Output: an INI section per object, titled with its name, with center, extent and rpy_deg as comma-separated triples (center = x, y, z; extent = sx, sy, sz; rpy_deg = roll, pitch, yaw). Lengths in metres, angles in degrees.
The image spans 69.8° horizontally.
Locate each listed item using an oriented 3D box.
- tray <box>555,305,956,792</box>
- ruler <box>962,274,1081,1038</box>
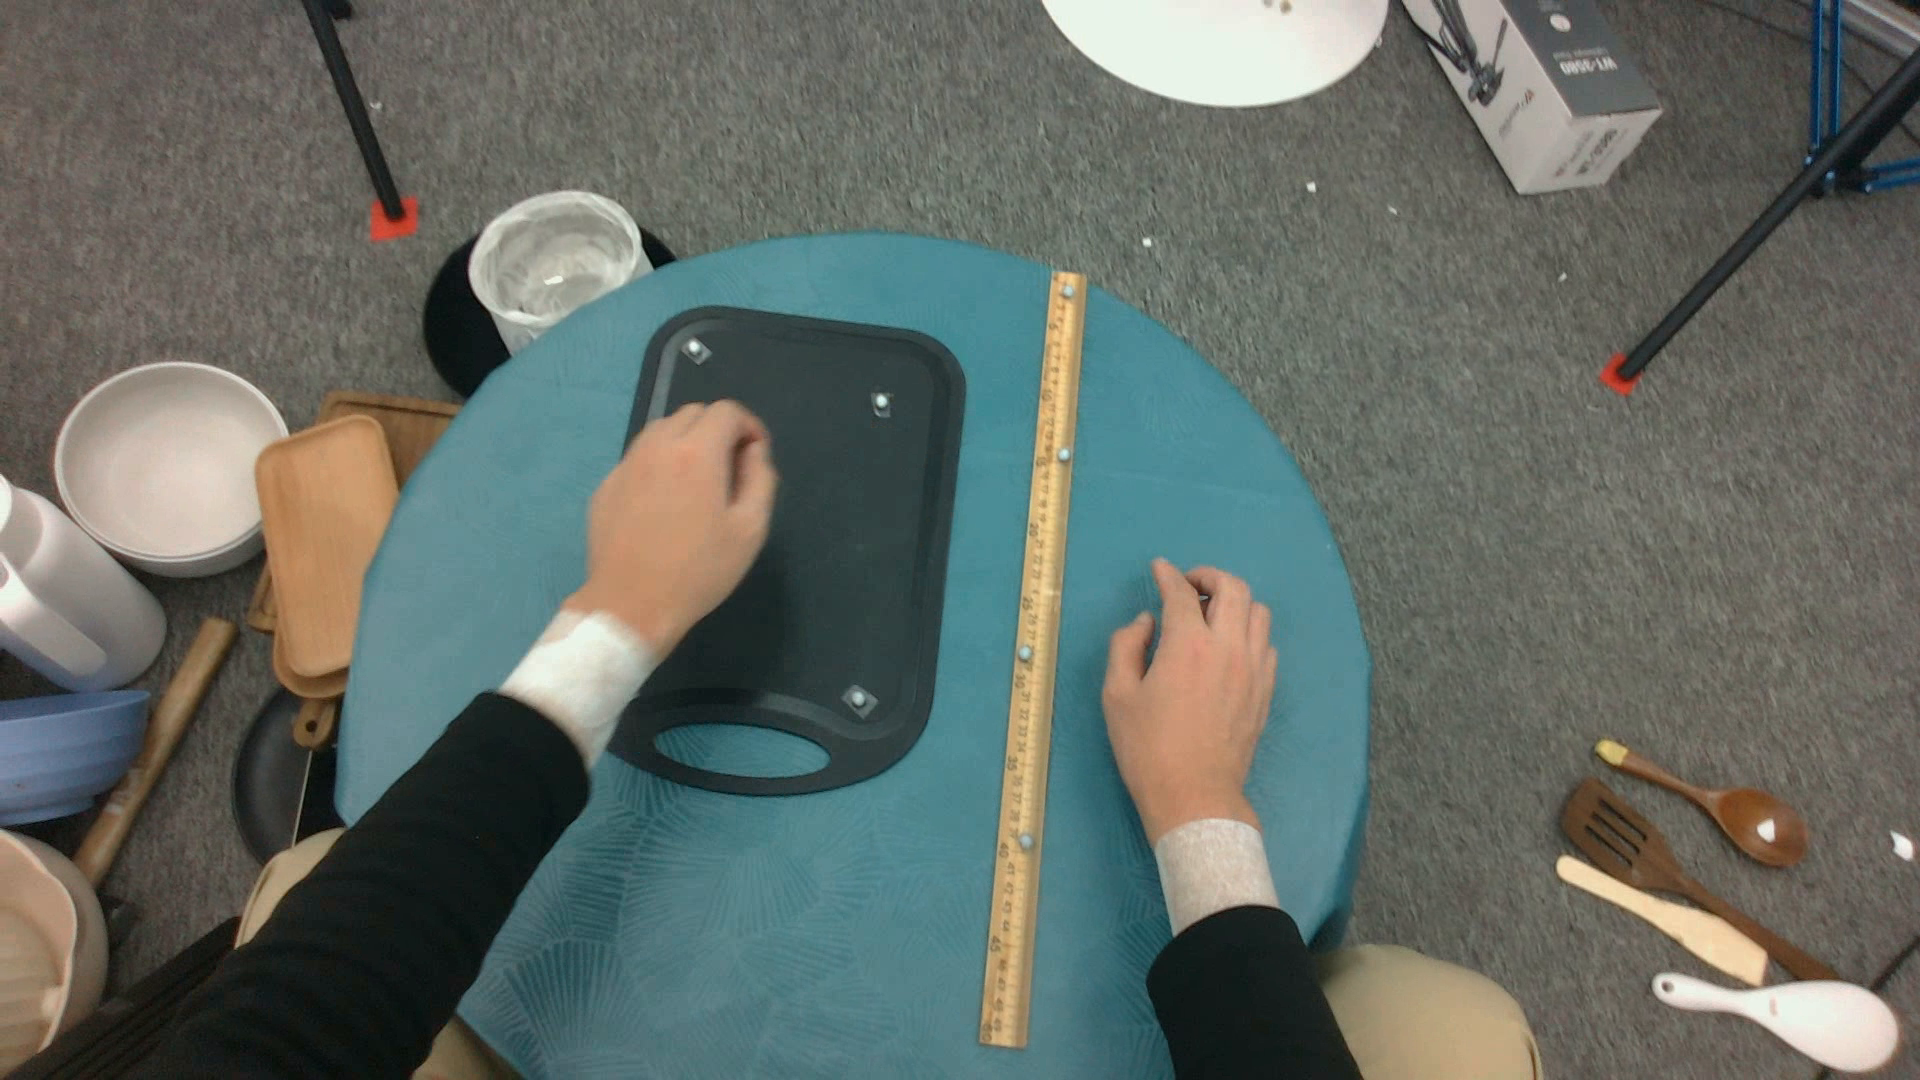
[tray]
center = -0.118, -0.005, 0.840
extent = 0.211, 0.010, 0.326
rpy_deg = 8, 62, -1
[ruler]
center = 0.042, 0.038, 0.834
extent = 0.027, 0.006, 0.502
rpy_deg = 7, 62, 1
